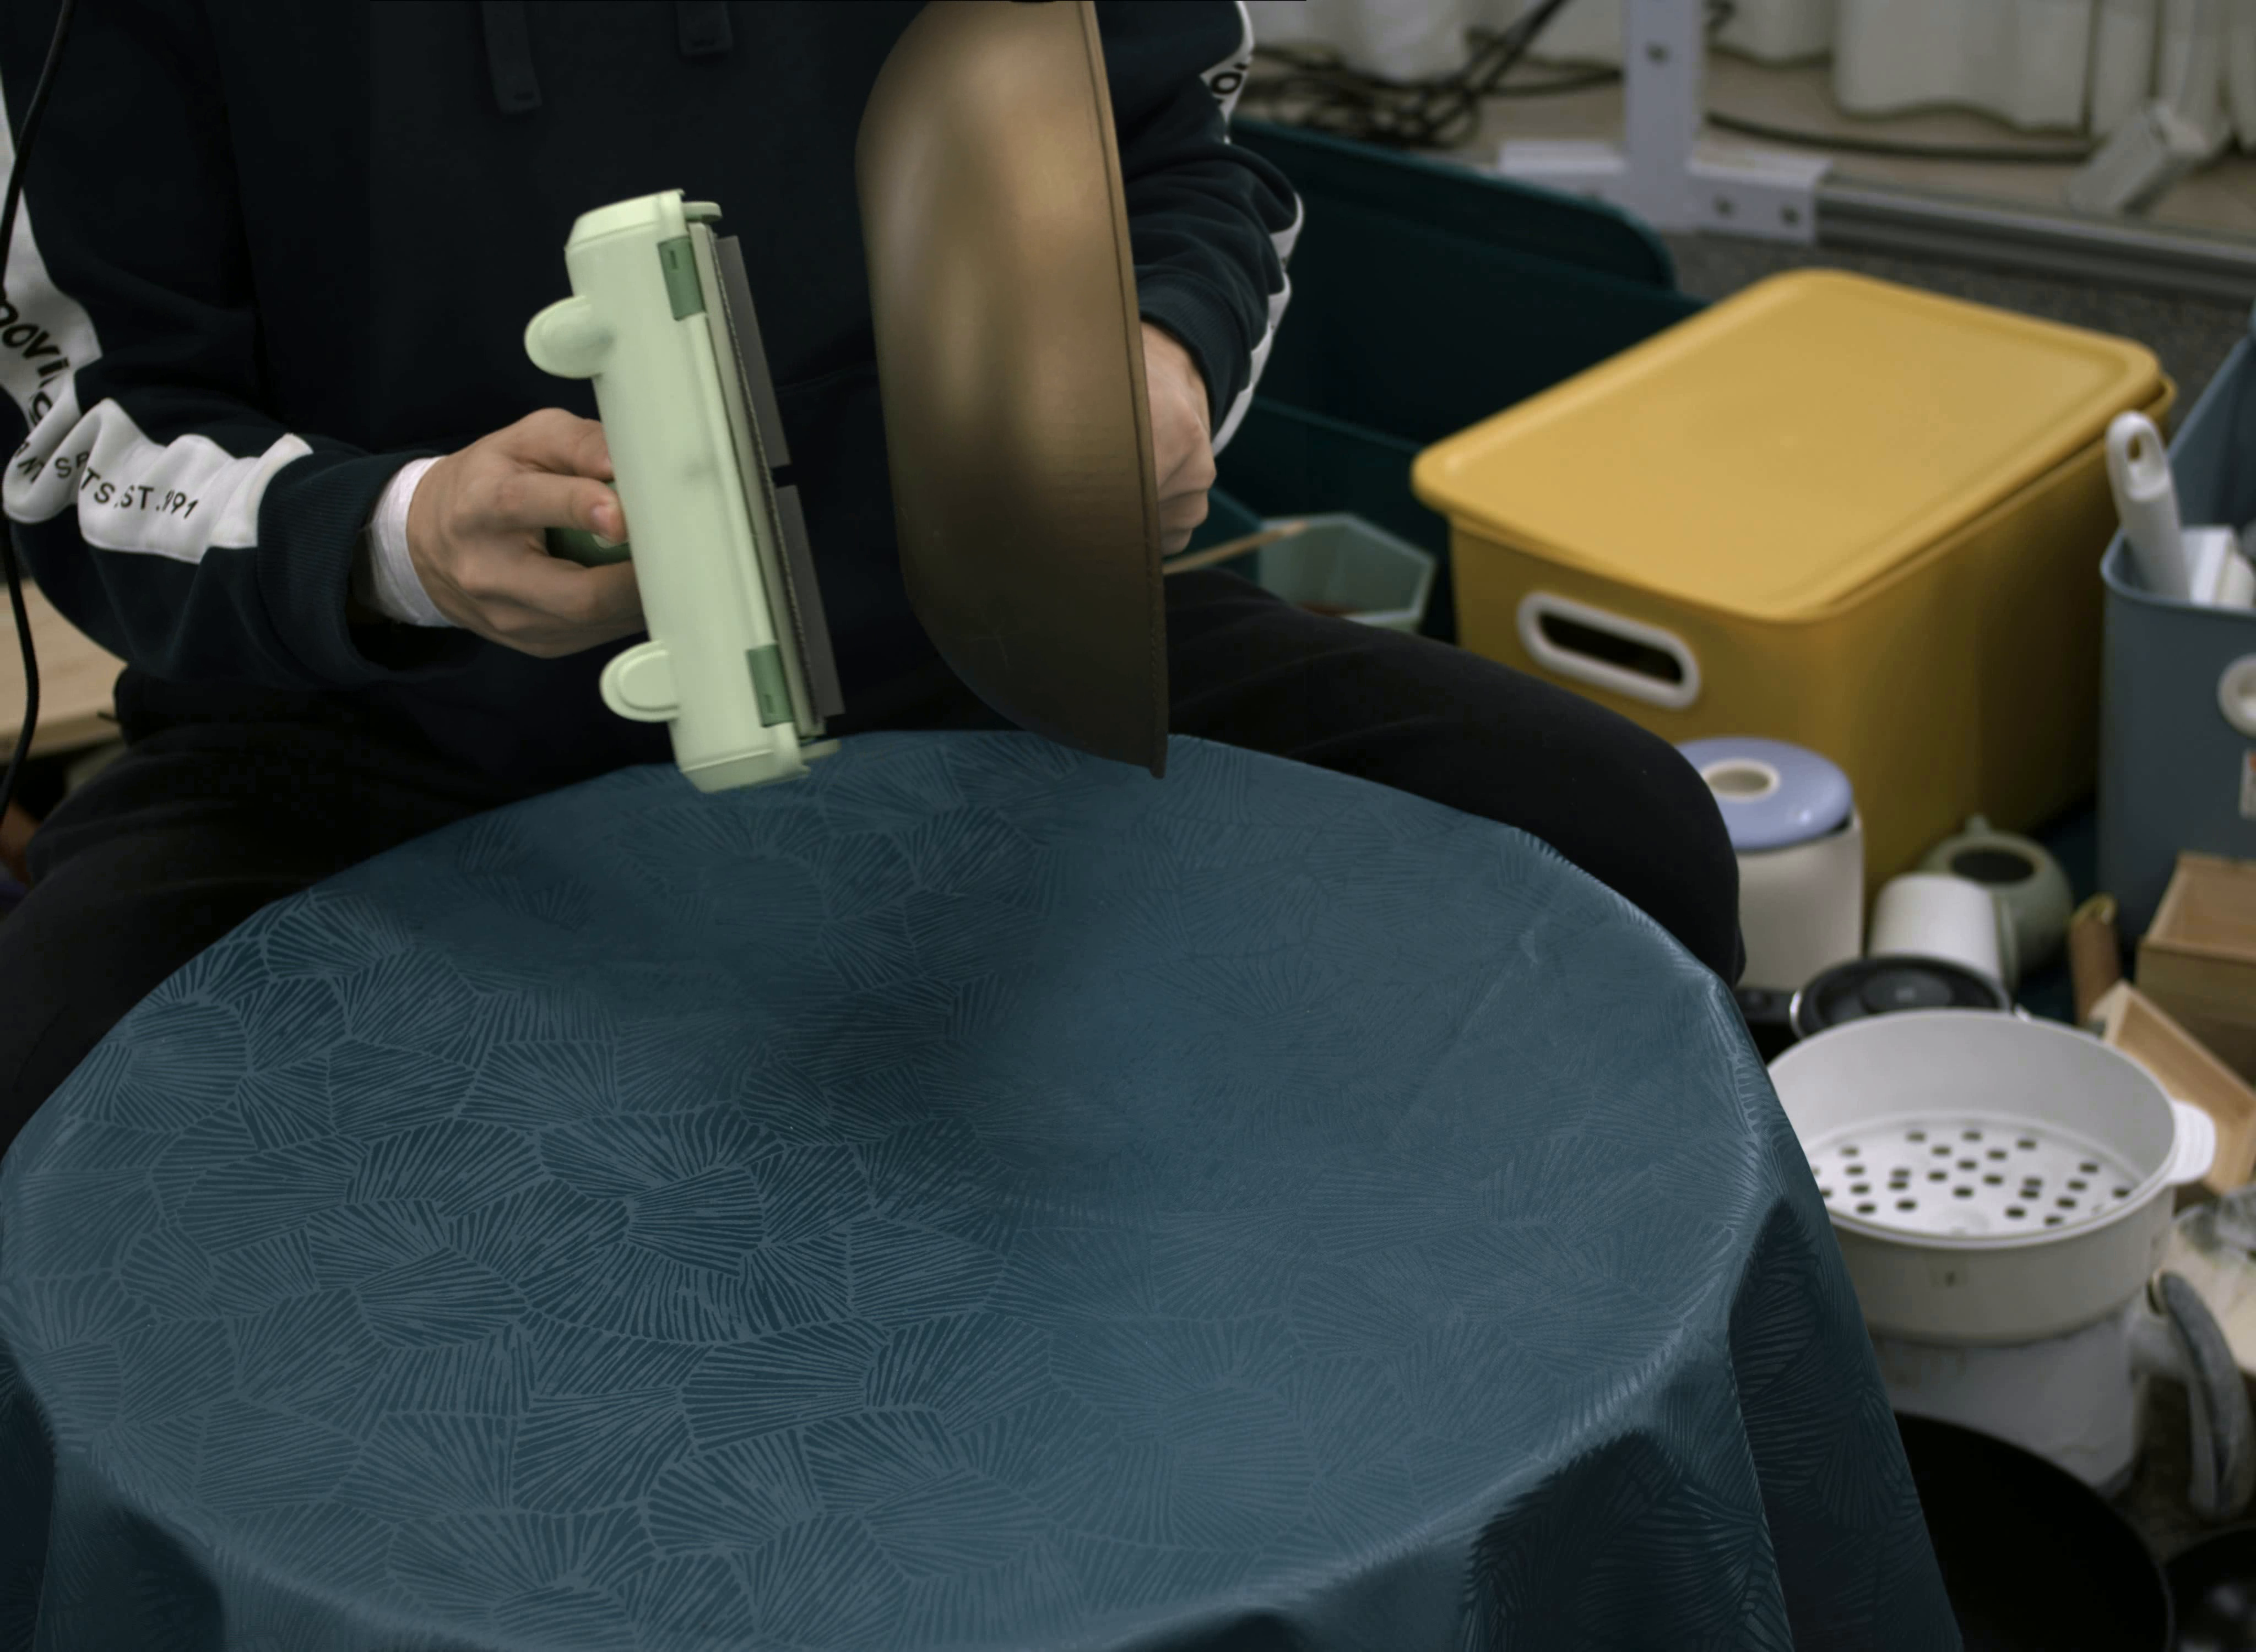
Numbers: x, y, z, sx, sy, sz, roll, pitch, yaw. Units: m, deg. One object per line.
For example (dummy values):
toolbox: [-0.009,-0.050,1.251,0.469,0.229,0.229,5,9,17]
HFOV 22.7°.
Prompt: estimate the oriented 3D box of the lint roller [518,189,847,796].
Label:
lint roller: [-0.177,-0.101,1.898,0.083,0.199,0.181,-12,-1,-39]

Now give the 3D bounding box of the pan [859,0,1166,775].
pan: [-0.043,-0.142,1.940,0.086,0.291,0.460,-6,-9,-3]
